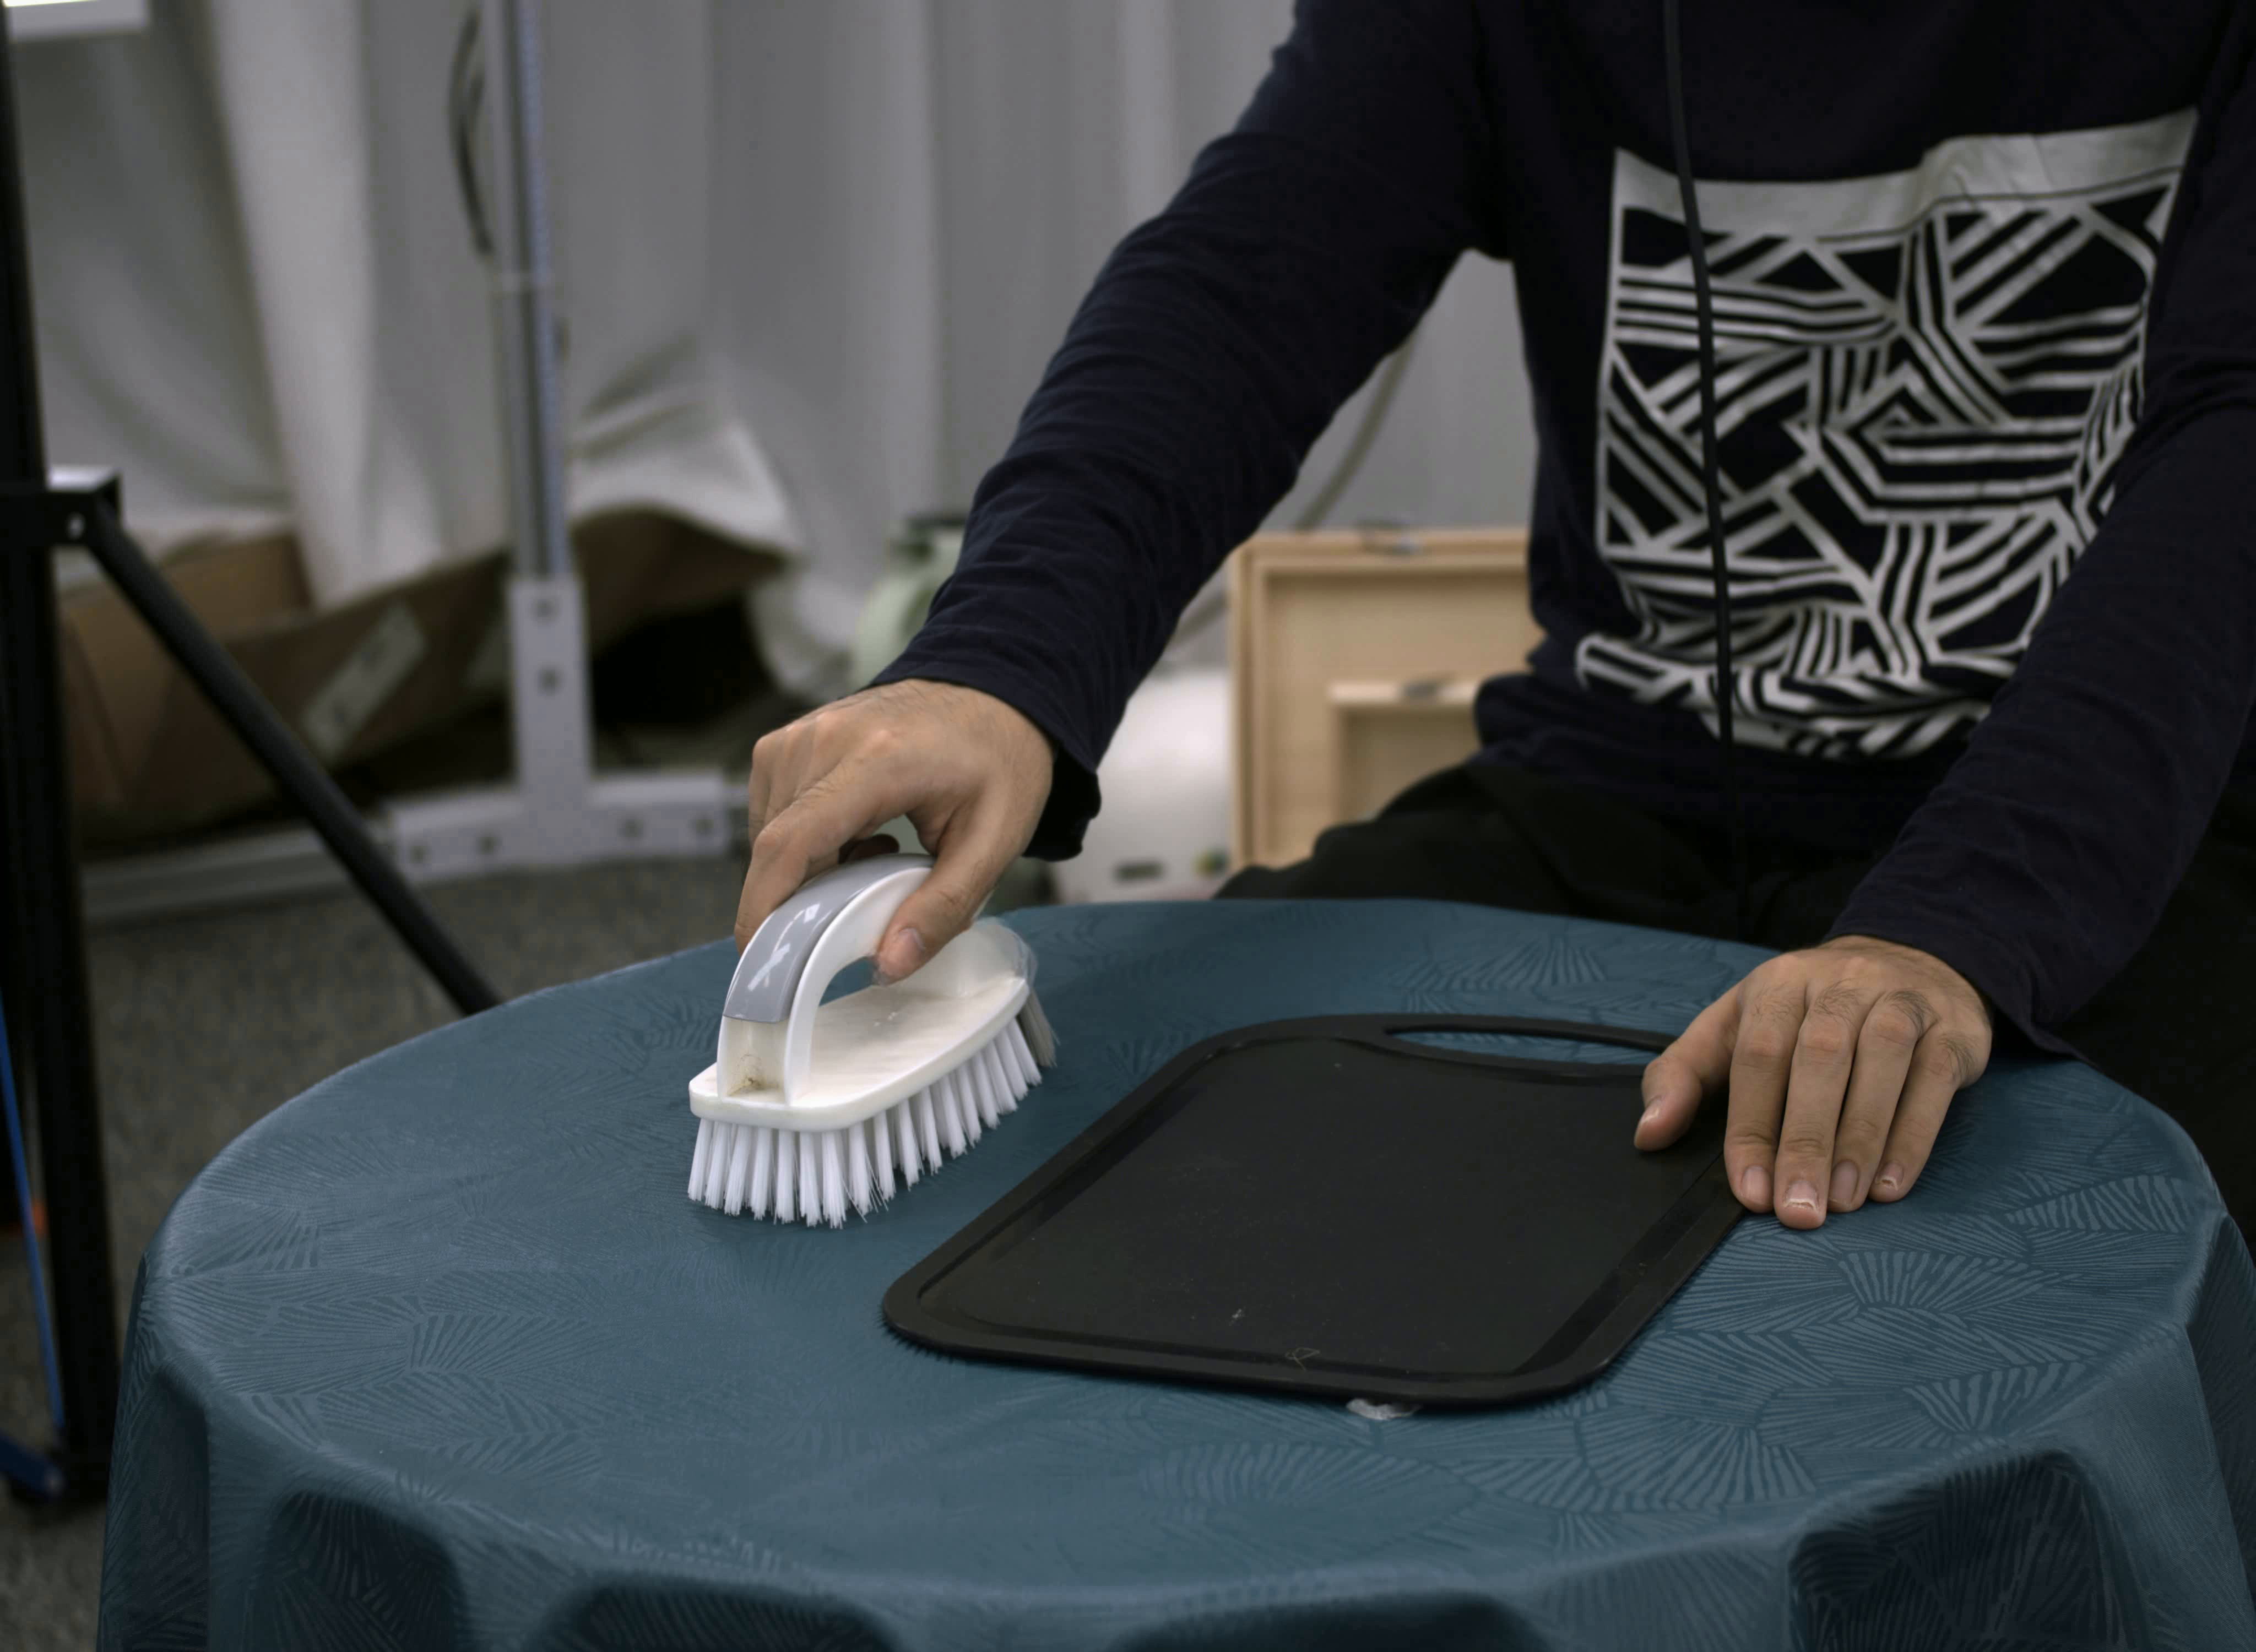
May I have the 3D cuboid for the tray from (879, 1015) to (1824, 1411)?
[{"bbox_3d":[0.074,0.104,1.549,0.214,0.010,0.321,5,17,23],"label":"tray"}]

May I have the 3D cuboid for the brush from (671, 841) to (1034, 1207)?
[{"bbox_3d":[-0.073,0.049,1.612,0.062,0.094,0.172,8,16,28],"label":"brush"}]
